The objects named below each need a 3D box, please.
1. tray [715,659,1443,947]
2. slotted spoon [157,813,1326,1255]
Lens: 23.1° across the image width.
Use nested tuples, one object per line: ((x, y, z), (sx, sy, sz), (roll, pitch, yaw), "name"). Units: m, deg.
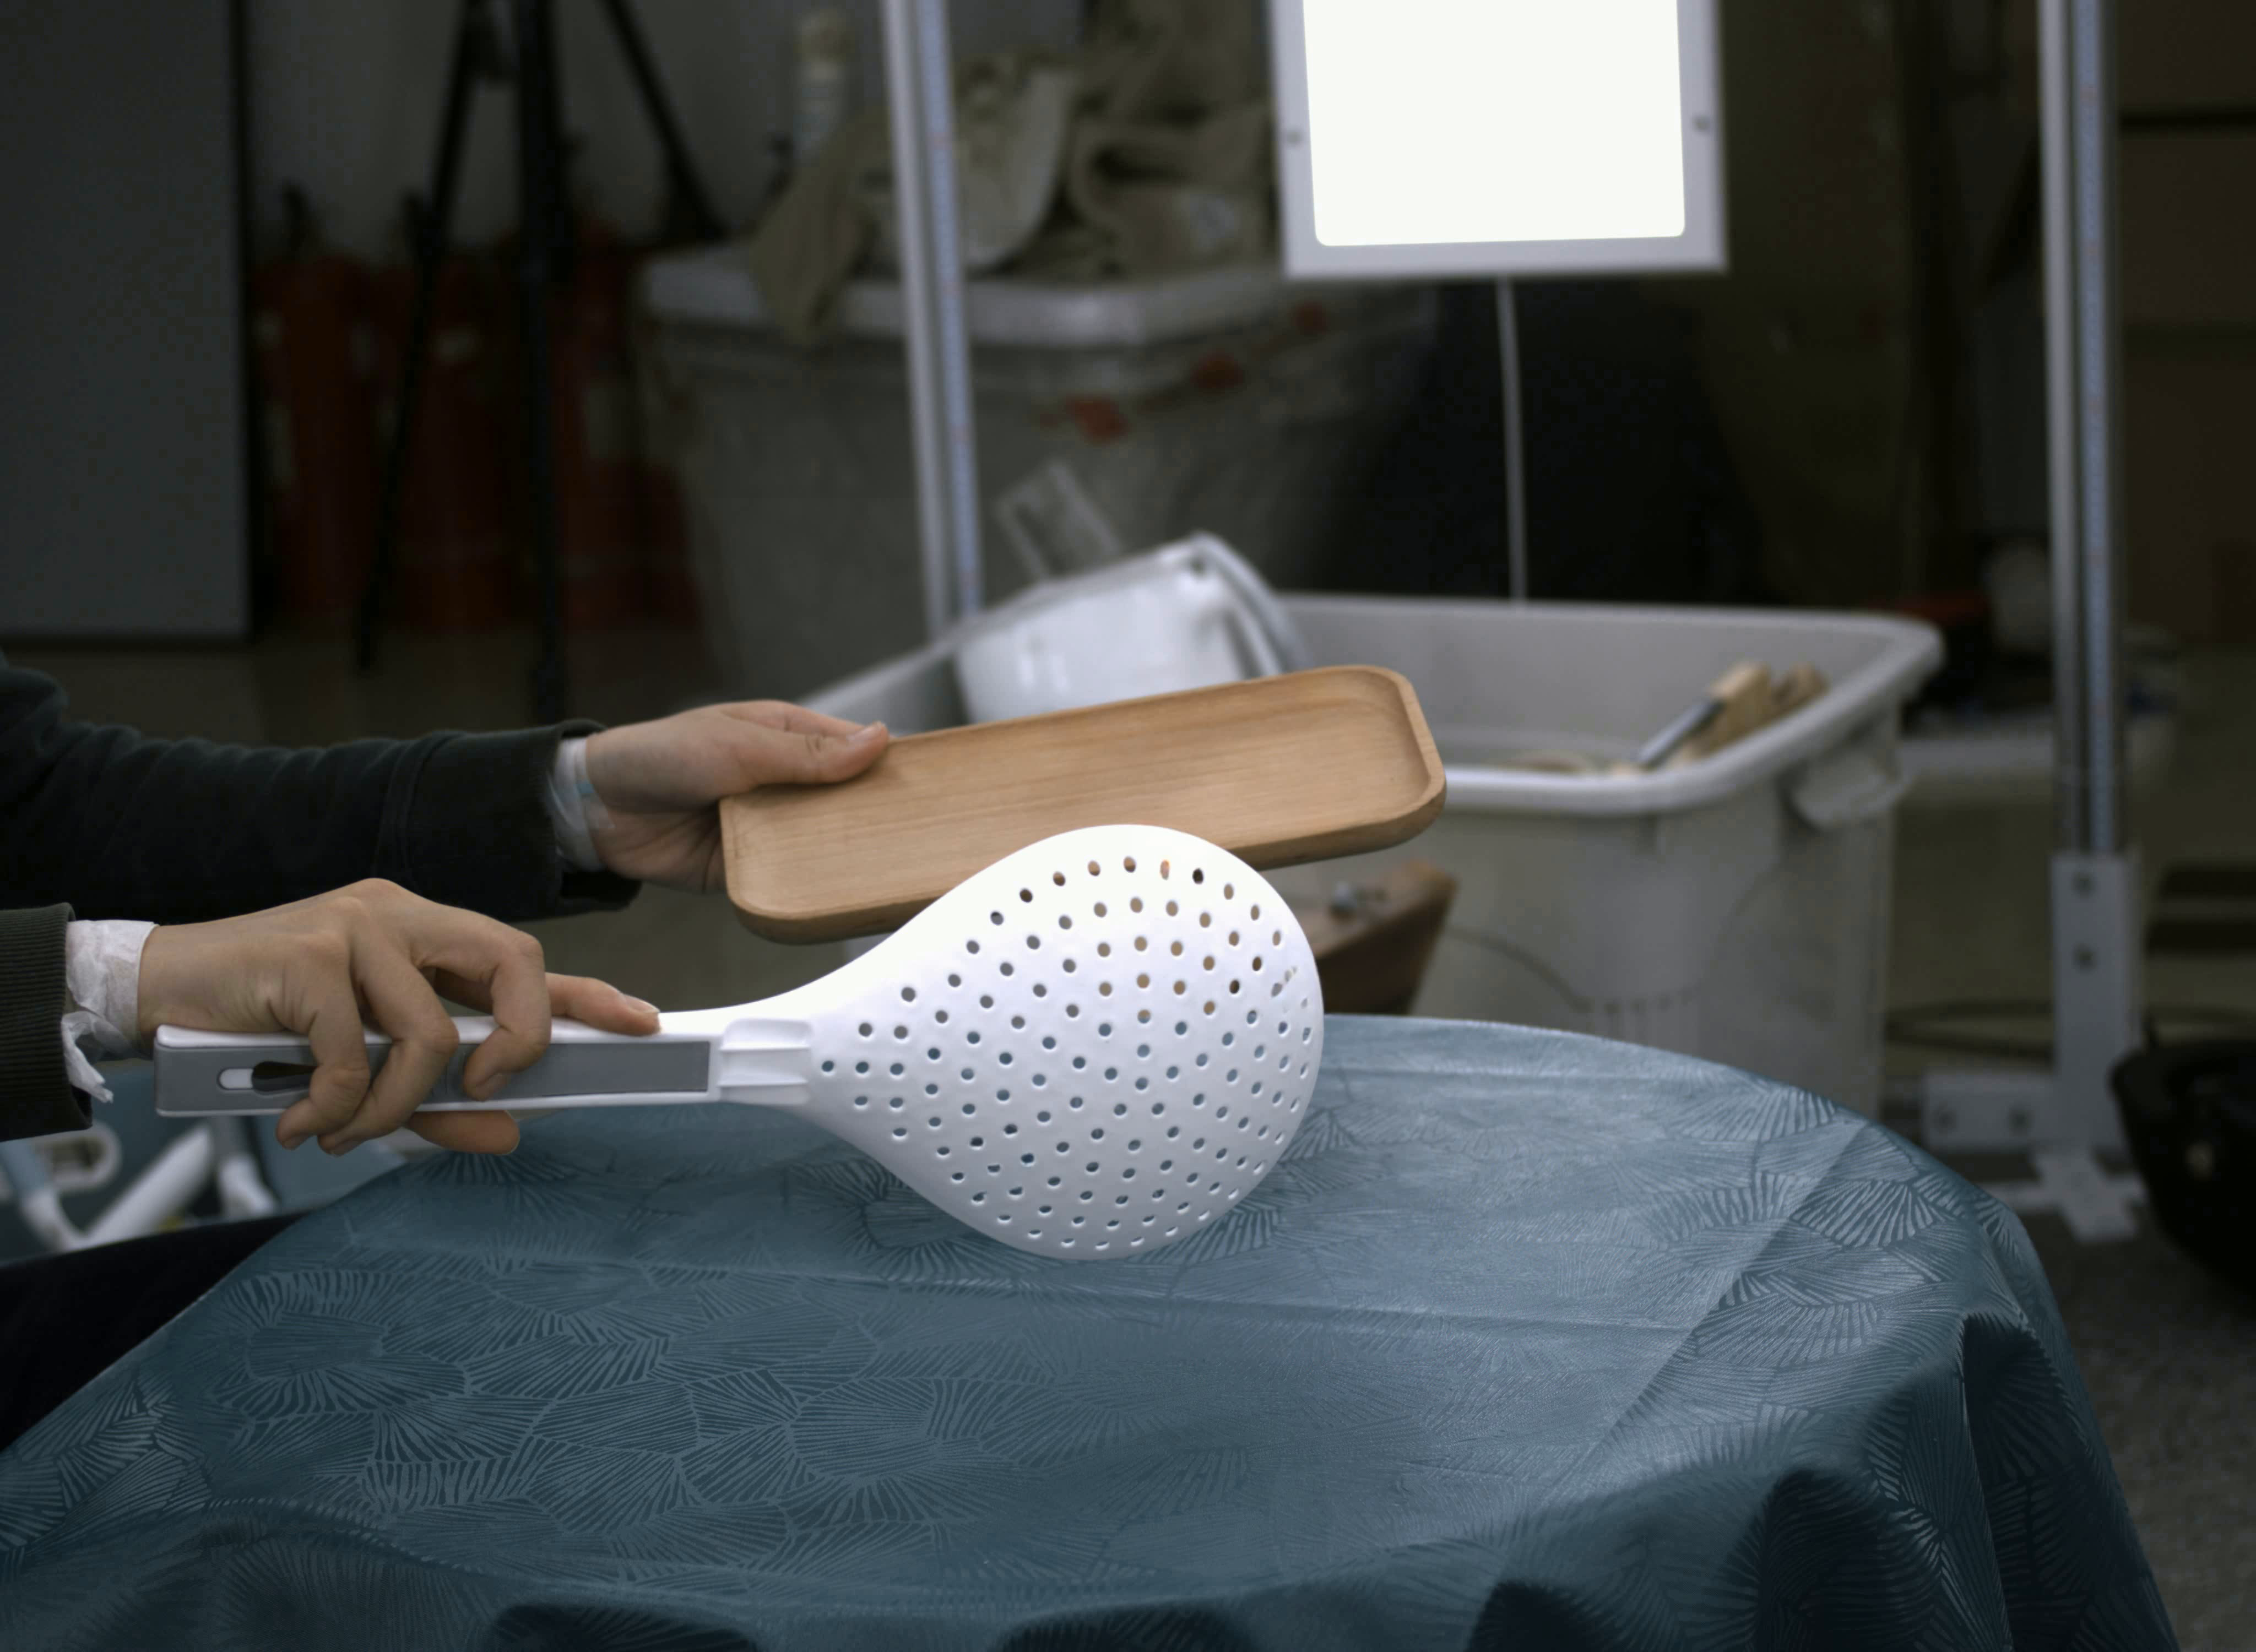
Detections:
((-0.018, -0.008, 1.918), (0.250, 0.023, 0.130), (-10, 25, 1), "tray")
((-0.107, 0.066, 1.607), (0.346, 0.137, 0.046), (0, 14, -10), "slotted spoon")
